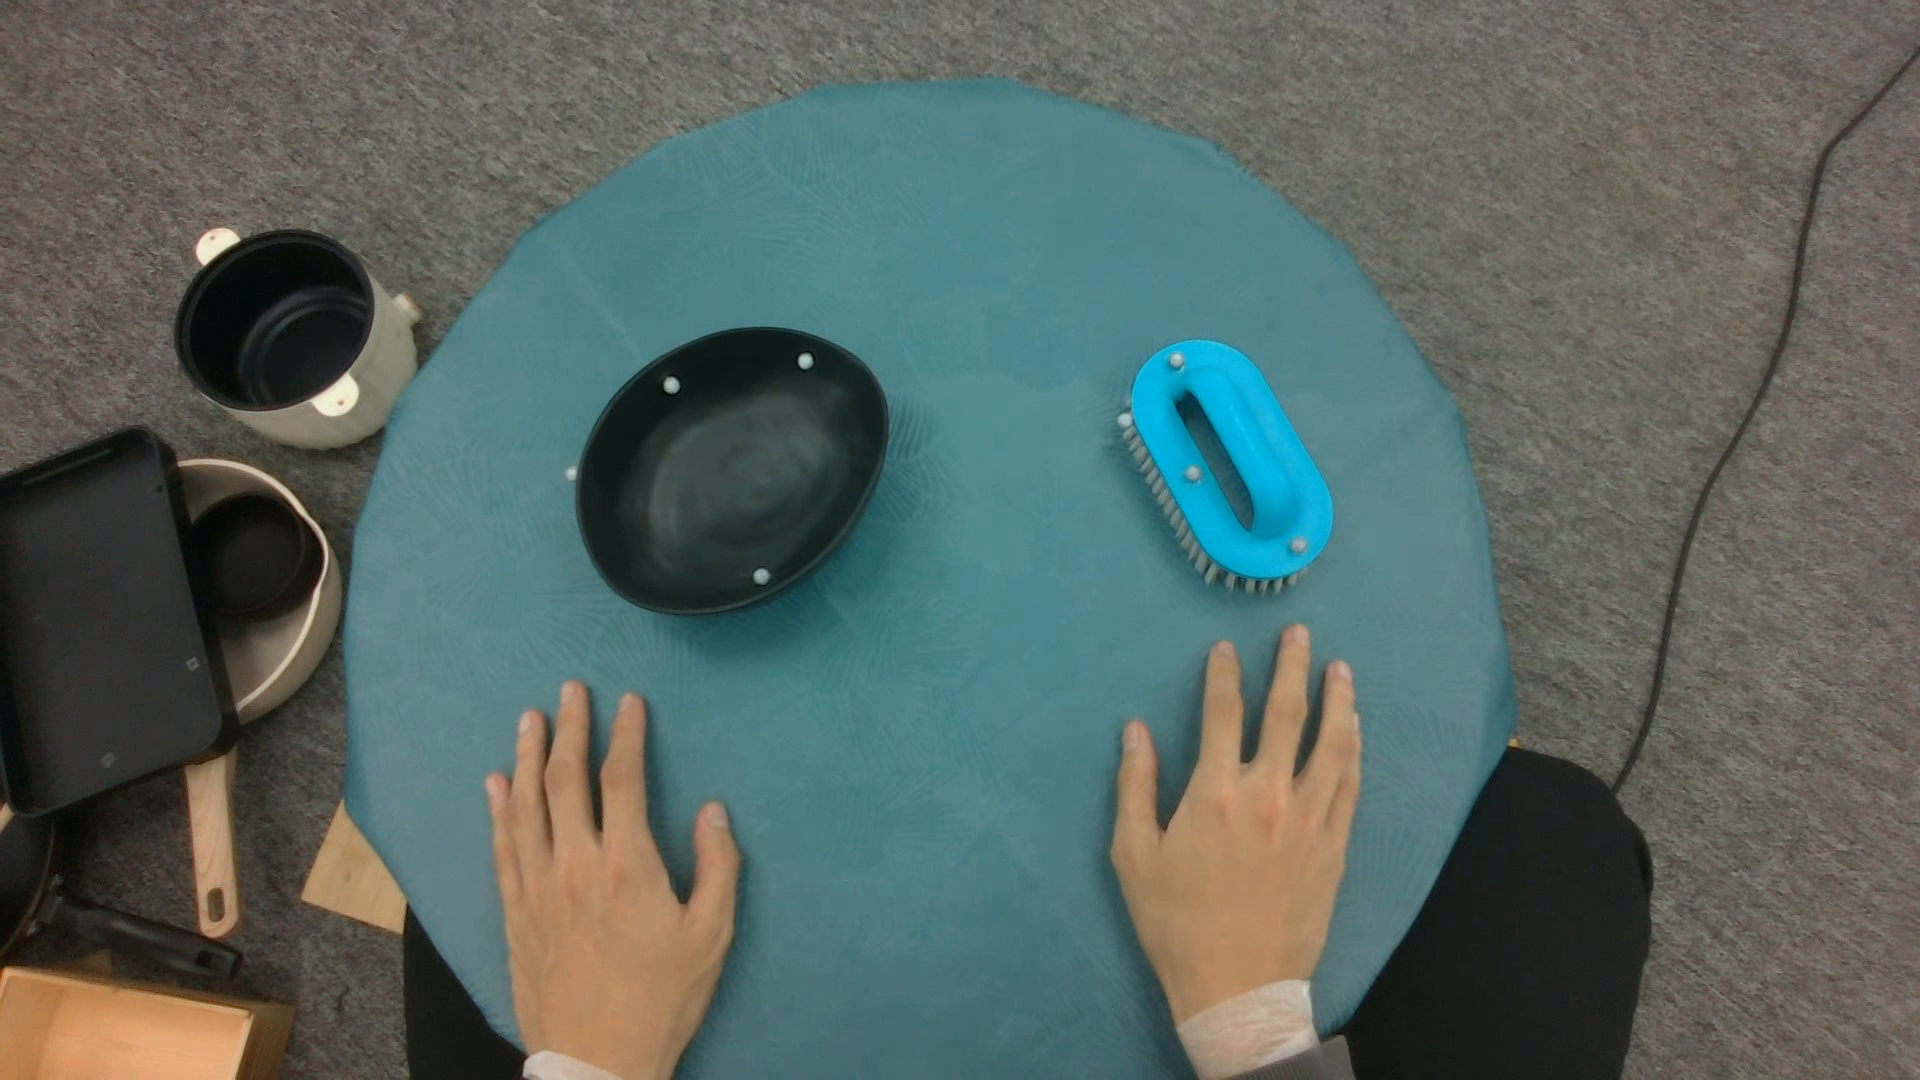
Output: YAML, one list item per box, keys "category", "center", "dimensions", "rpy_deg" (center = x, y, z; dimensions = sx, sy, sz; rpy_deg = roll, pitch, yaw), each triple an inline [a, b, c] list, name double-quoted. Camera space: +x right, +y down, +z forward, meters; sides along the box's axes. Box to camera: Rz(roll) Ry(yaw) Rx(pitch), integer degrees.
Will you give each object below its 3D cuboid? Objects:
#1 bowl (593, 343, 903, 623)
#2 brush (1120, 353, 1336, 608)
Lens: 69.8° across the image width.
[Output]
- category: "bowl"
  center: [-0.106, -0.026, 0.719]
  dimensions: [0.137, 0.066, 0.170]
  rpy_deg: [42, 76, 13]
- category: "brush"
  center: [0.142, -0.039, 0.714]
  dimensions: [0.084, 0.063, 0.142]
  rpy_deg: [-21, 73, -10]
